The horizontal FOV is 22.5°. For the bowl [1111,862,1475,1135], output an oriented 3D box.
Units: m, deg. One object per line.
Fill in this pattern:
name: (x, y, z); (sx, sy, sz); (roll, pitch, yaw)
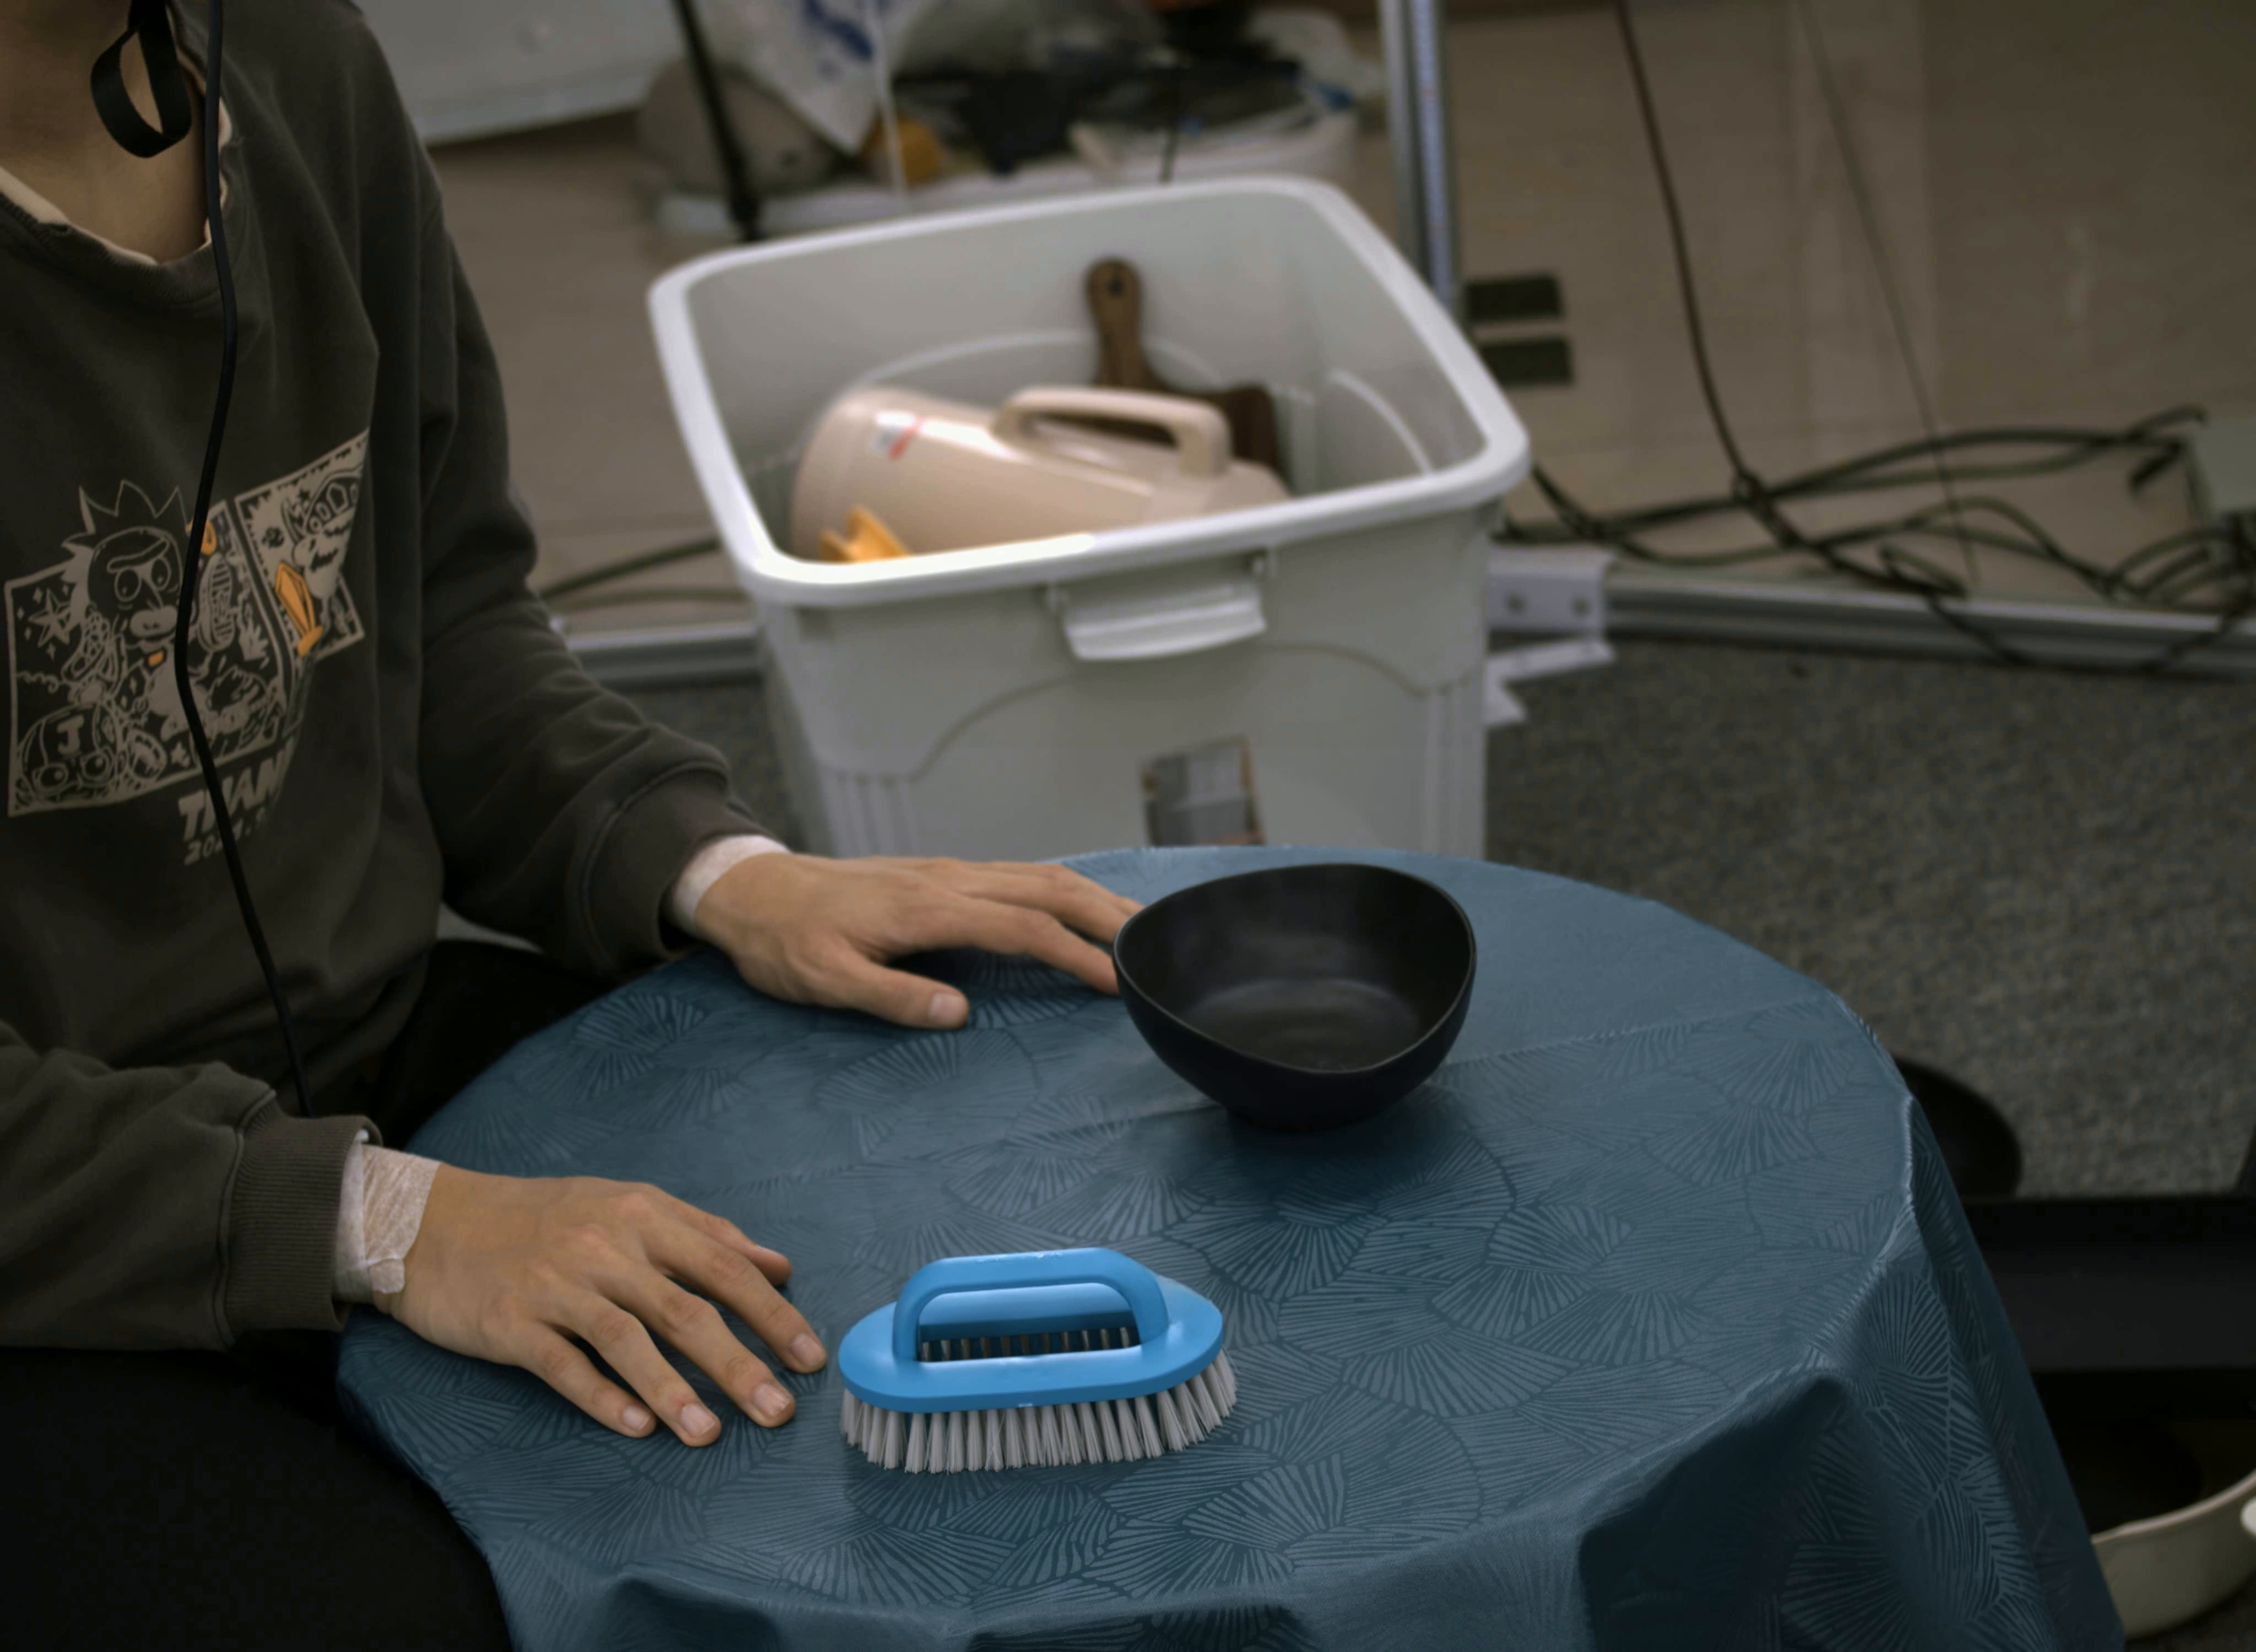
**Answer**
bowl: (0.068, 0.074, 2.193); (0.137, 0.068, 0.168); (-14, 28, -15)

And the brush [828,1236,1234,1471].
brush: (-0.036, 0.177, 1.996); (0.141, 0.065, 0.083); (-4, 30, 7)
